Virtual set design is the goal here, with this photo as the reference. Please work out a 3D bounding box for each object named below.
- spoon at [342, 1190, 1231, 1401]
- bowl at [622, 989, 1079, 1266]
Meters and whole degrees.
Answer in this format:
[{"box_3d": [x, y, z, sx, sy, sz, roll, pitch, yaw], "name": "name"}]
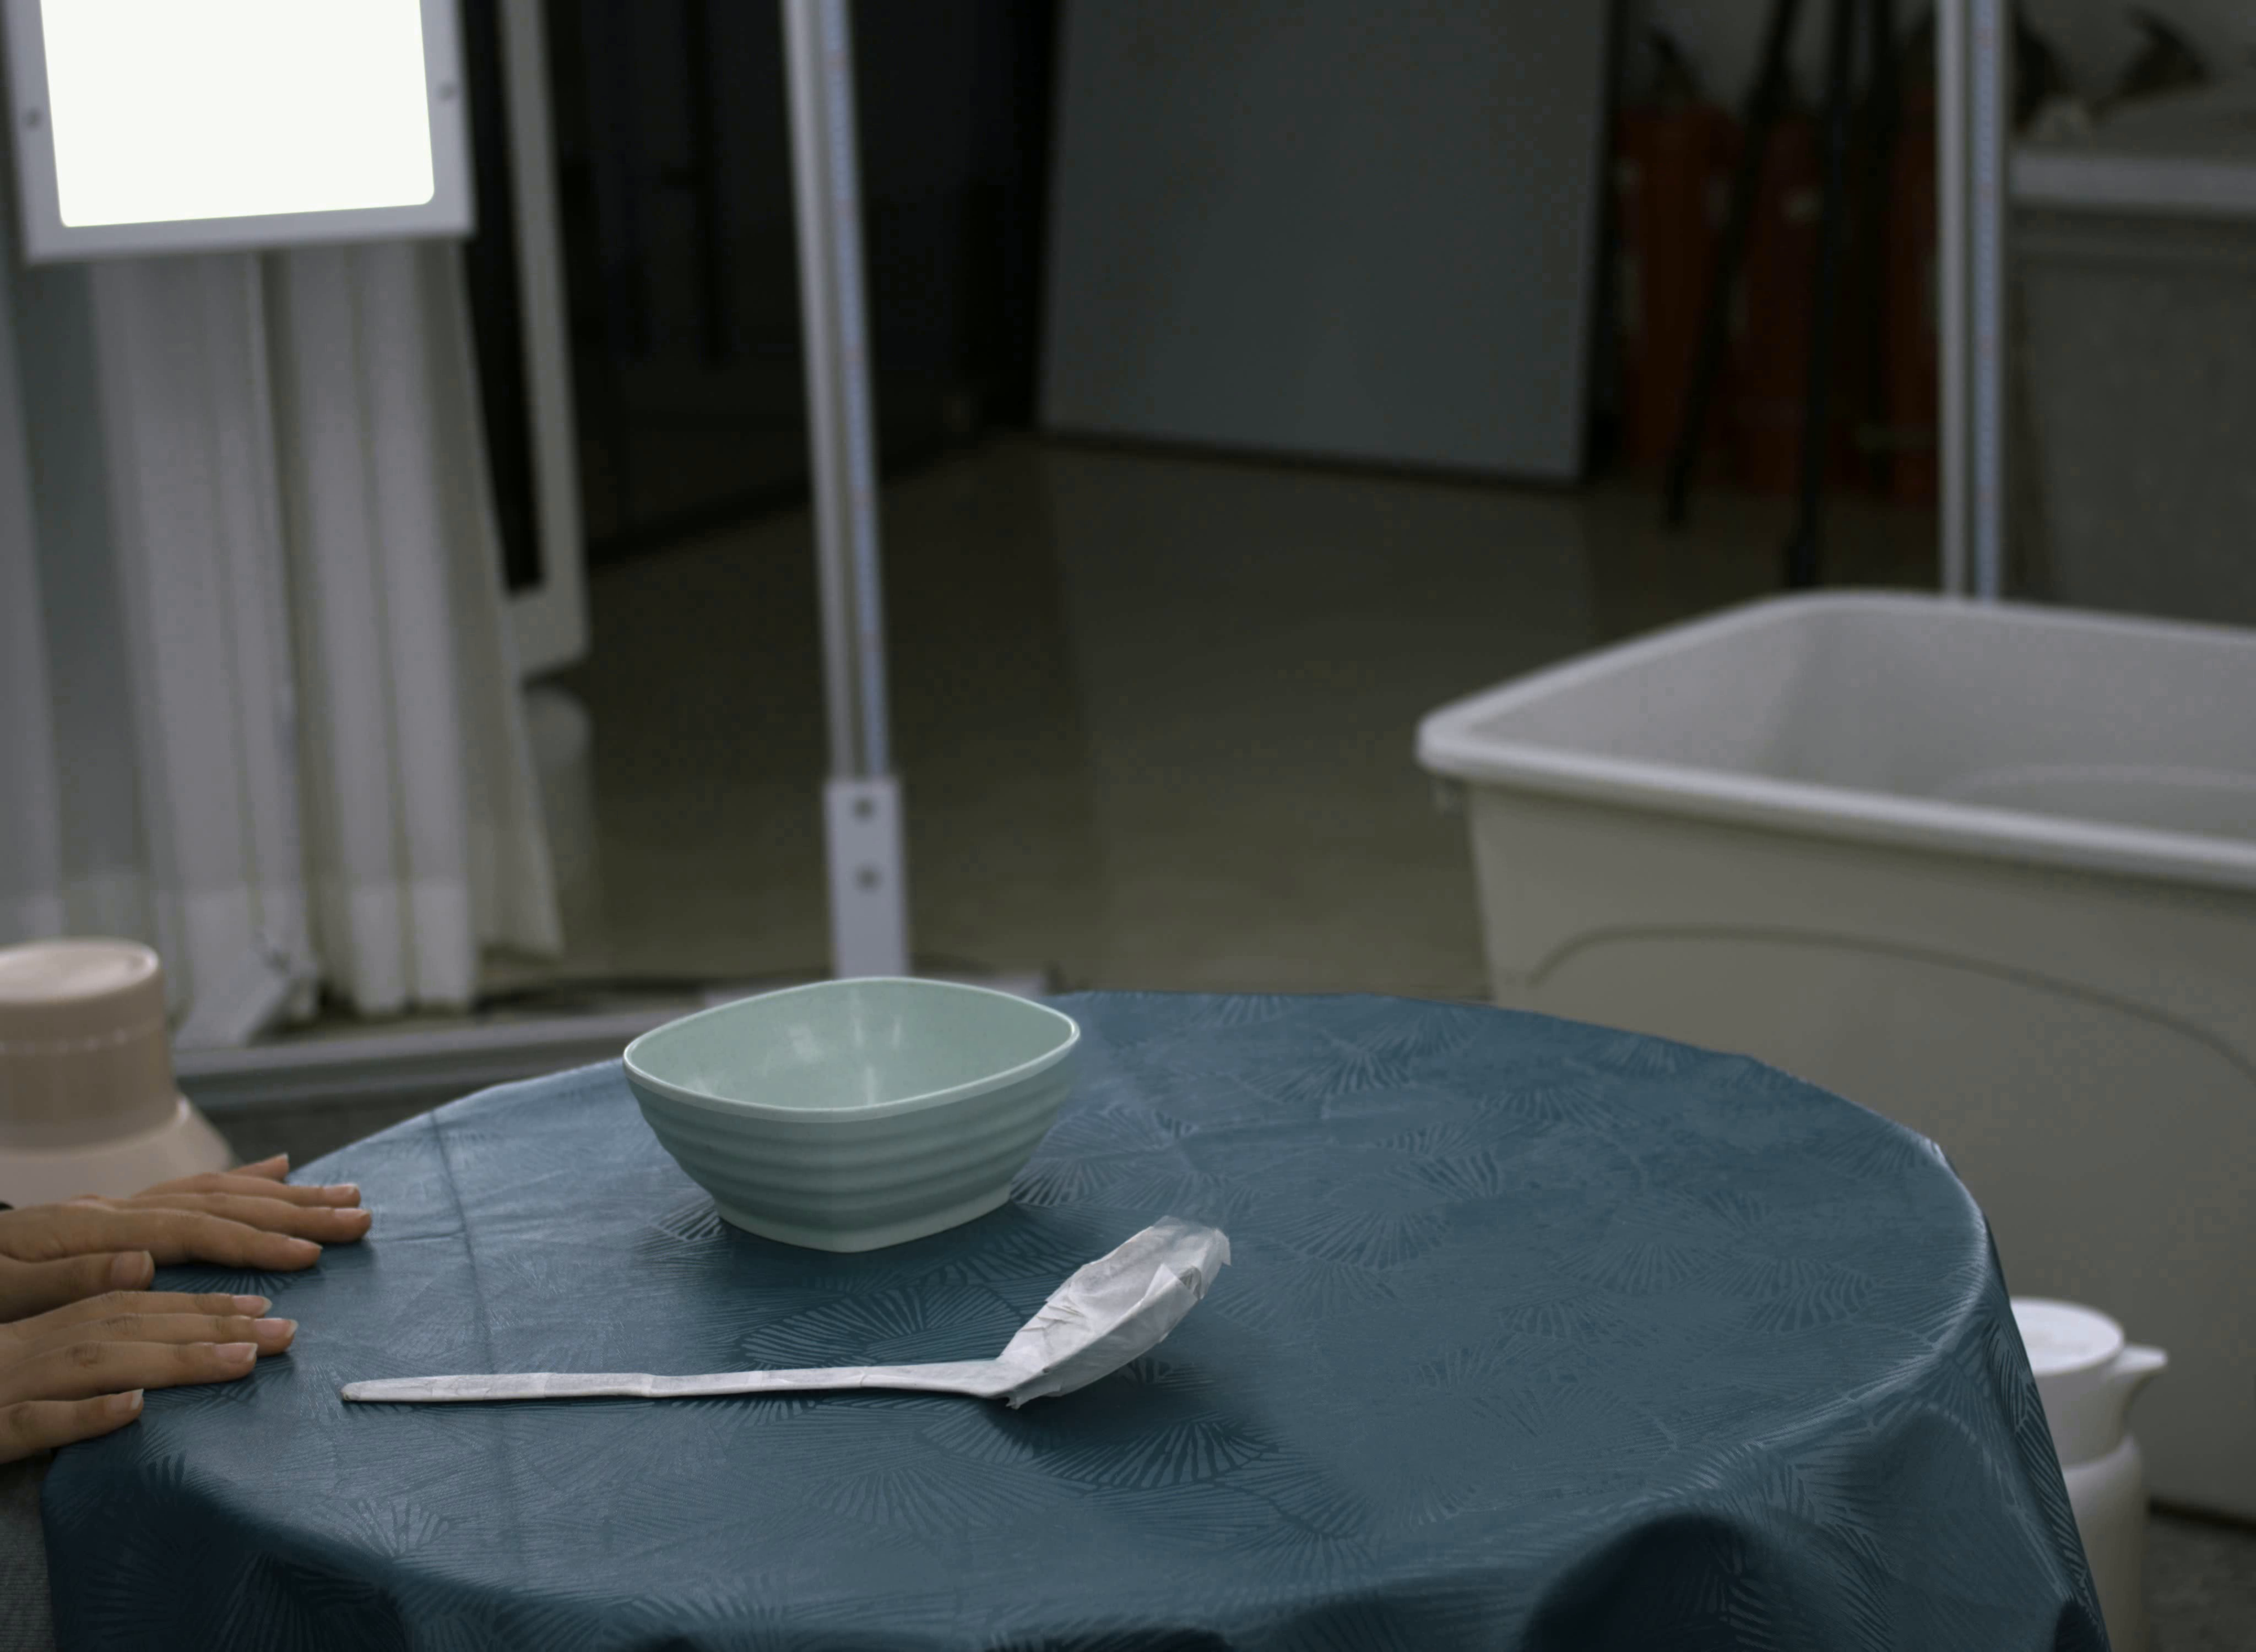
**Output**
[{"box_3d": [-0.103, 0.139, 1.608, 0.276, 0.060, 0.100, -1, 9, 12], "name": "spoon"}, {"box_3d": [-0.089, 0.101, 1.767, 0.149, 0.059, 0.152, -4, 13, 0], "name": "bowl"}]
